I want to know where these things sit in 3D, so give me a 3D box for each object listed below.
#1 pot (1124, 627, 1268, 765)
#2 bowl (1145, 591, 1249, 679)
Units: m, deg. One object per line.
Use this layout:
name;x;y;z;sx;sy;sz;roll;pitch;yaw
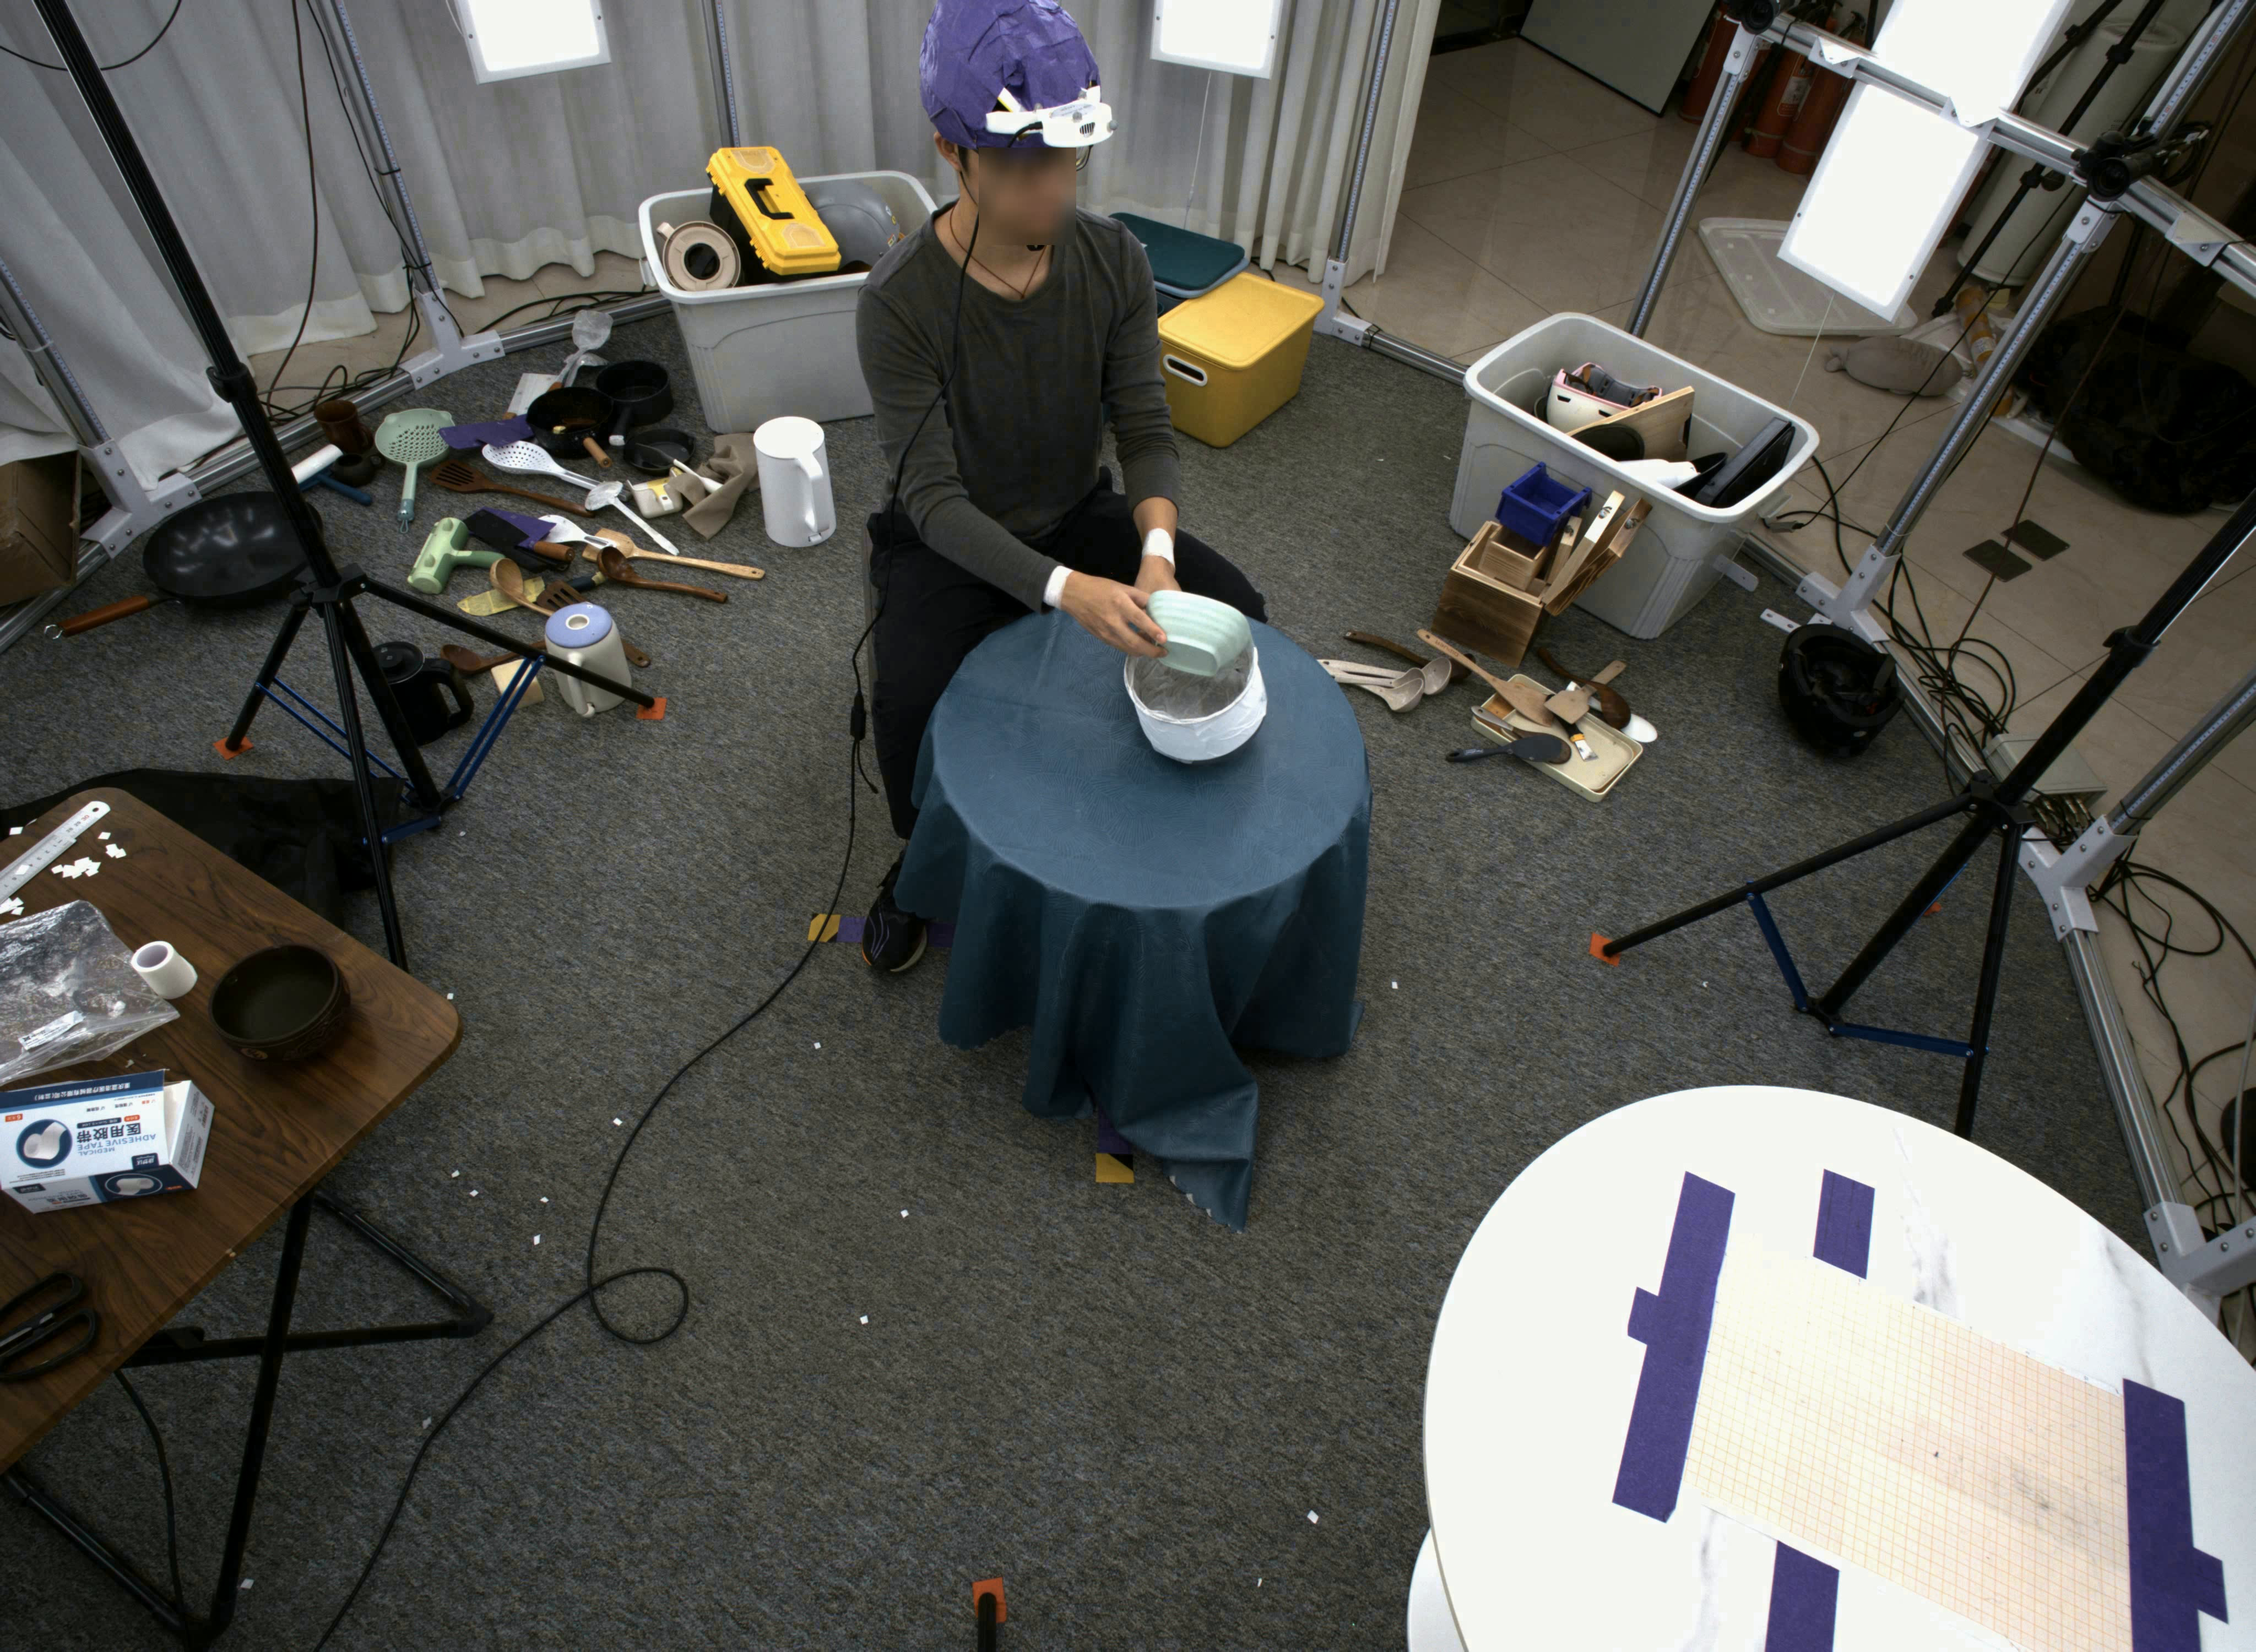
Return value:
pot;0.084;-0.202;1.733;0.178;0.133;0.239;-26;59;0
bowl;0.080;-0.237;1.642;0.152;0.149;0.059;18;74;10
